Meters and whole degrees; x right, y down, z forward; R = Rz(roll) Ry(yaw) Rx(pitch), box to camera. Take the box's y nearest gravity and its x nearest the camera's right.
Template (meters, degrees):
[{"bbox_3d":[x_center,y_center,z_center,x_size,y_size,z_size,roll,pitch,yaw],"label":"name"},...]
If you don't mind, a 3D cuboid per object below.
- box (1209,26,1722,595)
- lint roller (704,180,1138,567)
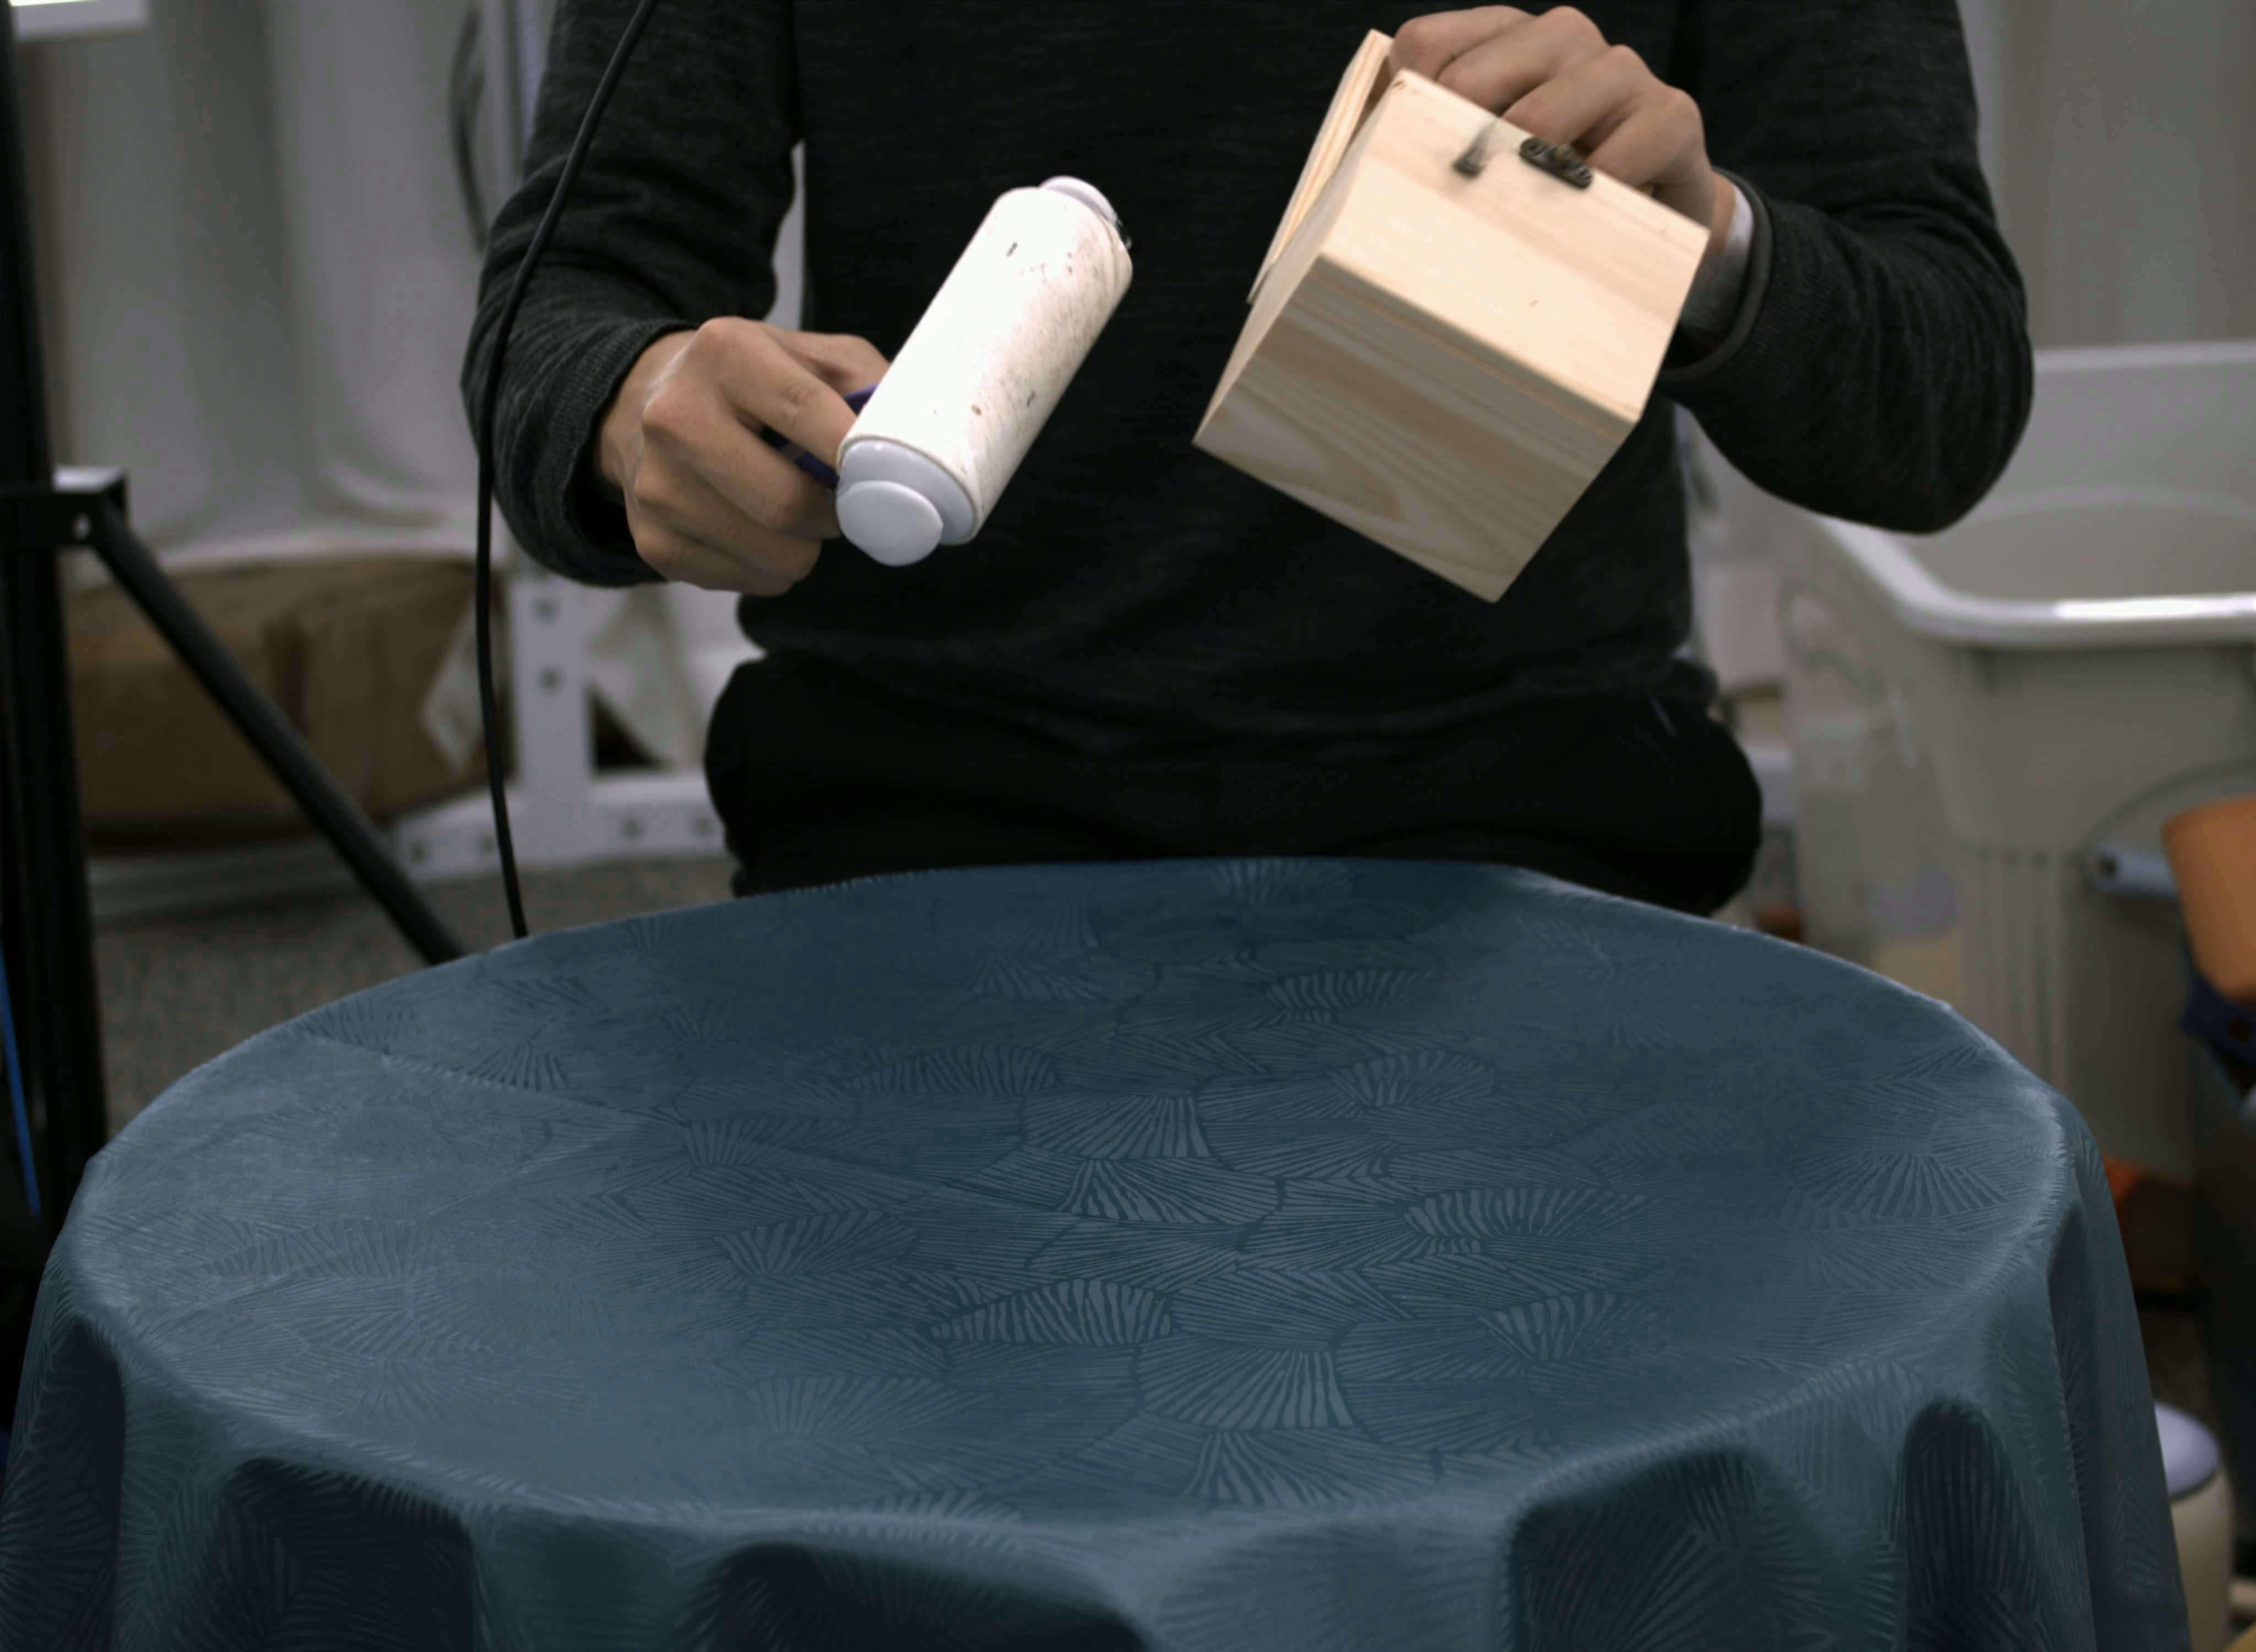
[{"bbox_3d":[0.110,-0.176,1.557,0.102,0.135,0.184,27,54,-5],"label":"box"},{"bbox_3d":[-0.080,-0.126,1.590,0.184,0.049,0.132,-7,45,51],"label":"lint roller"}]
